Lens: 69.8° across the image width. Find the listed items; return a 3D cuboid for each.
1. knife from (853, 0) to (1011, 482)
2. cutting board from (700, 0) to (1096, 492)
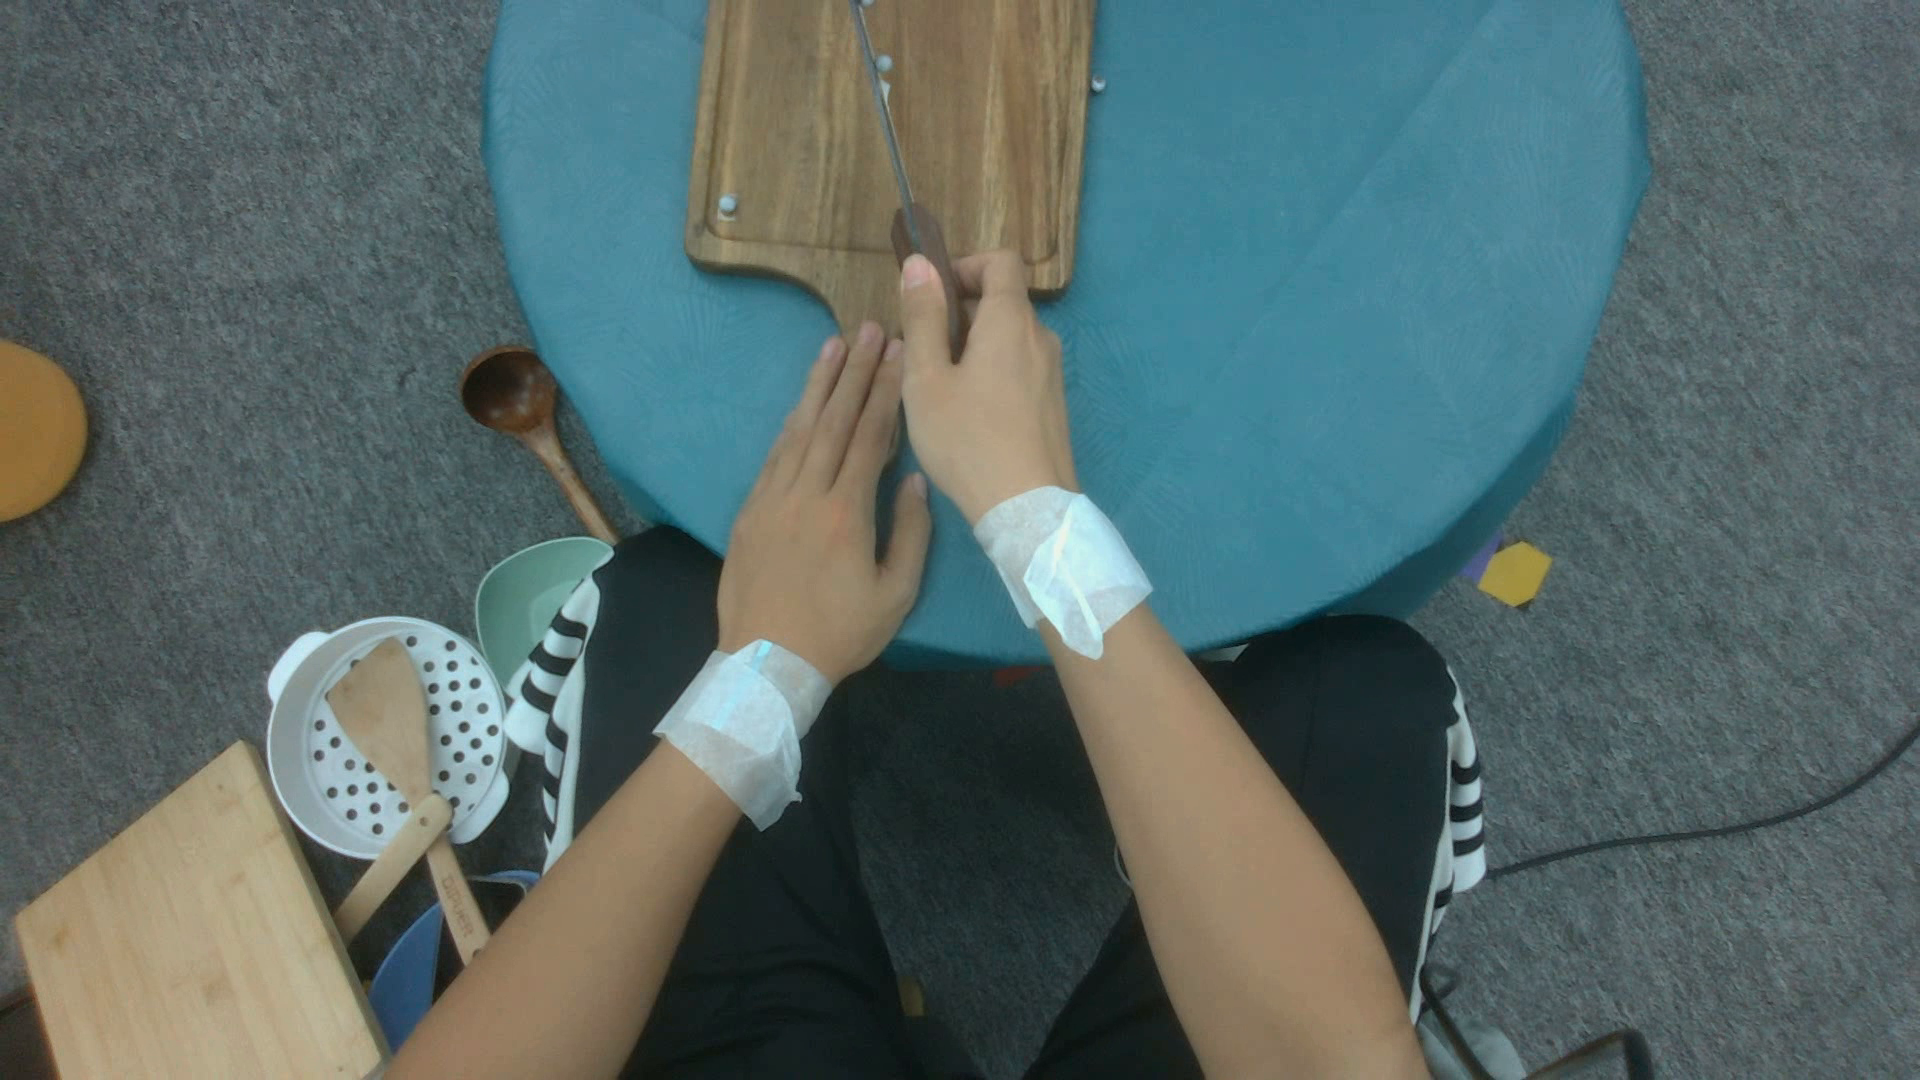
[{"bbox_3d":[-0.022,-0.166,0.664,0.024,0.068,0.300,-16,79,4],"label":"knife"},{"bbox_3d":[-0.033,-0.200,0.724,0.201,0.023,0.352,4,82,0],"label":"cutting board"}]
